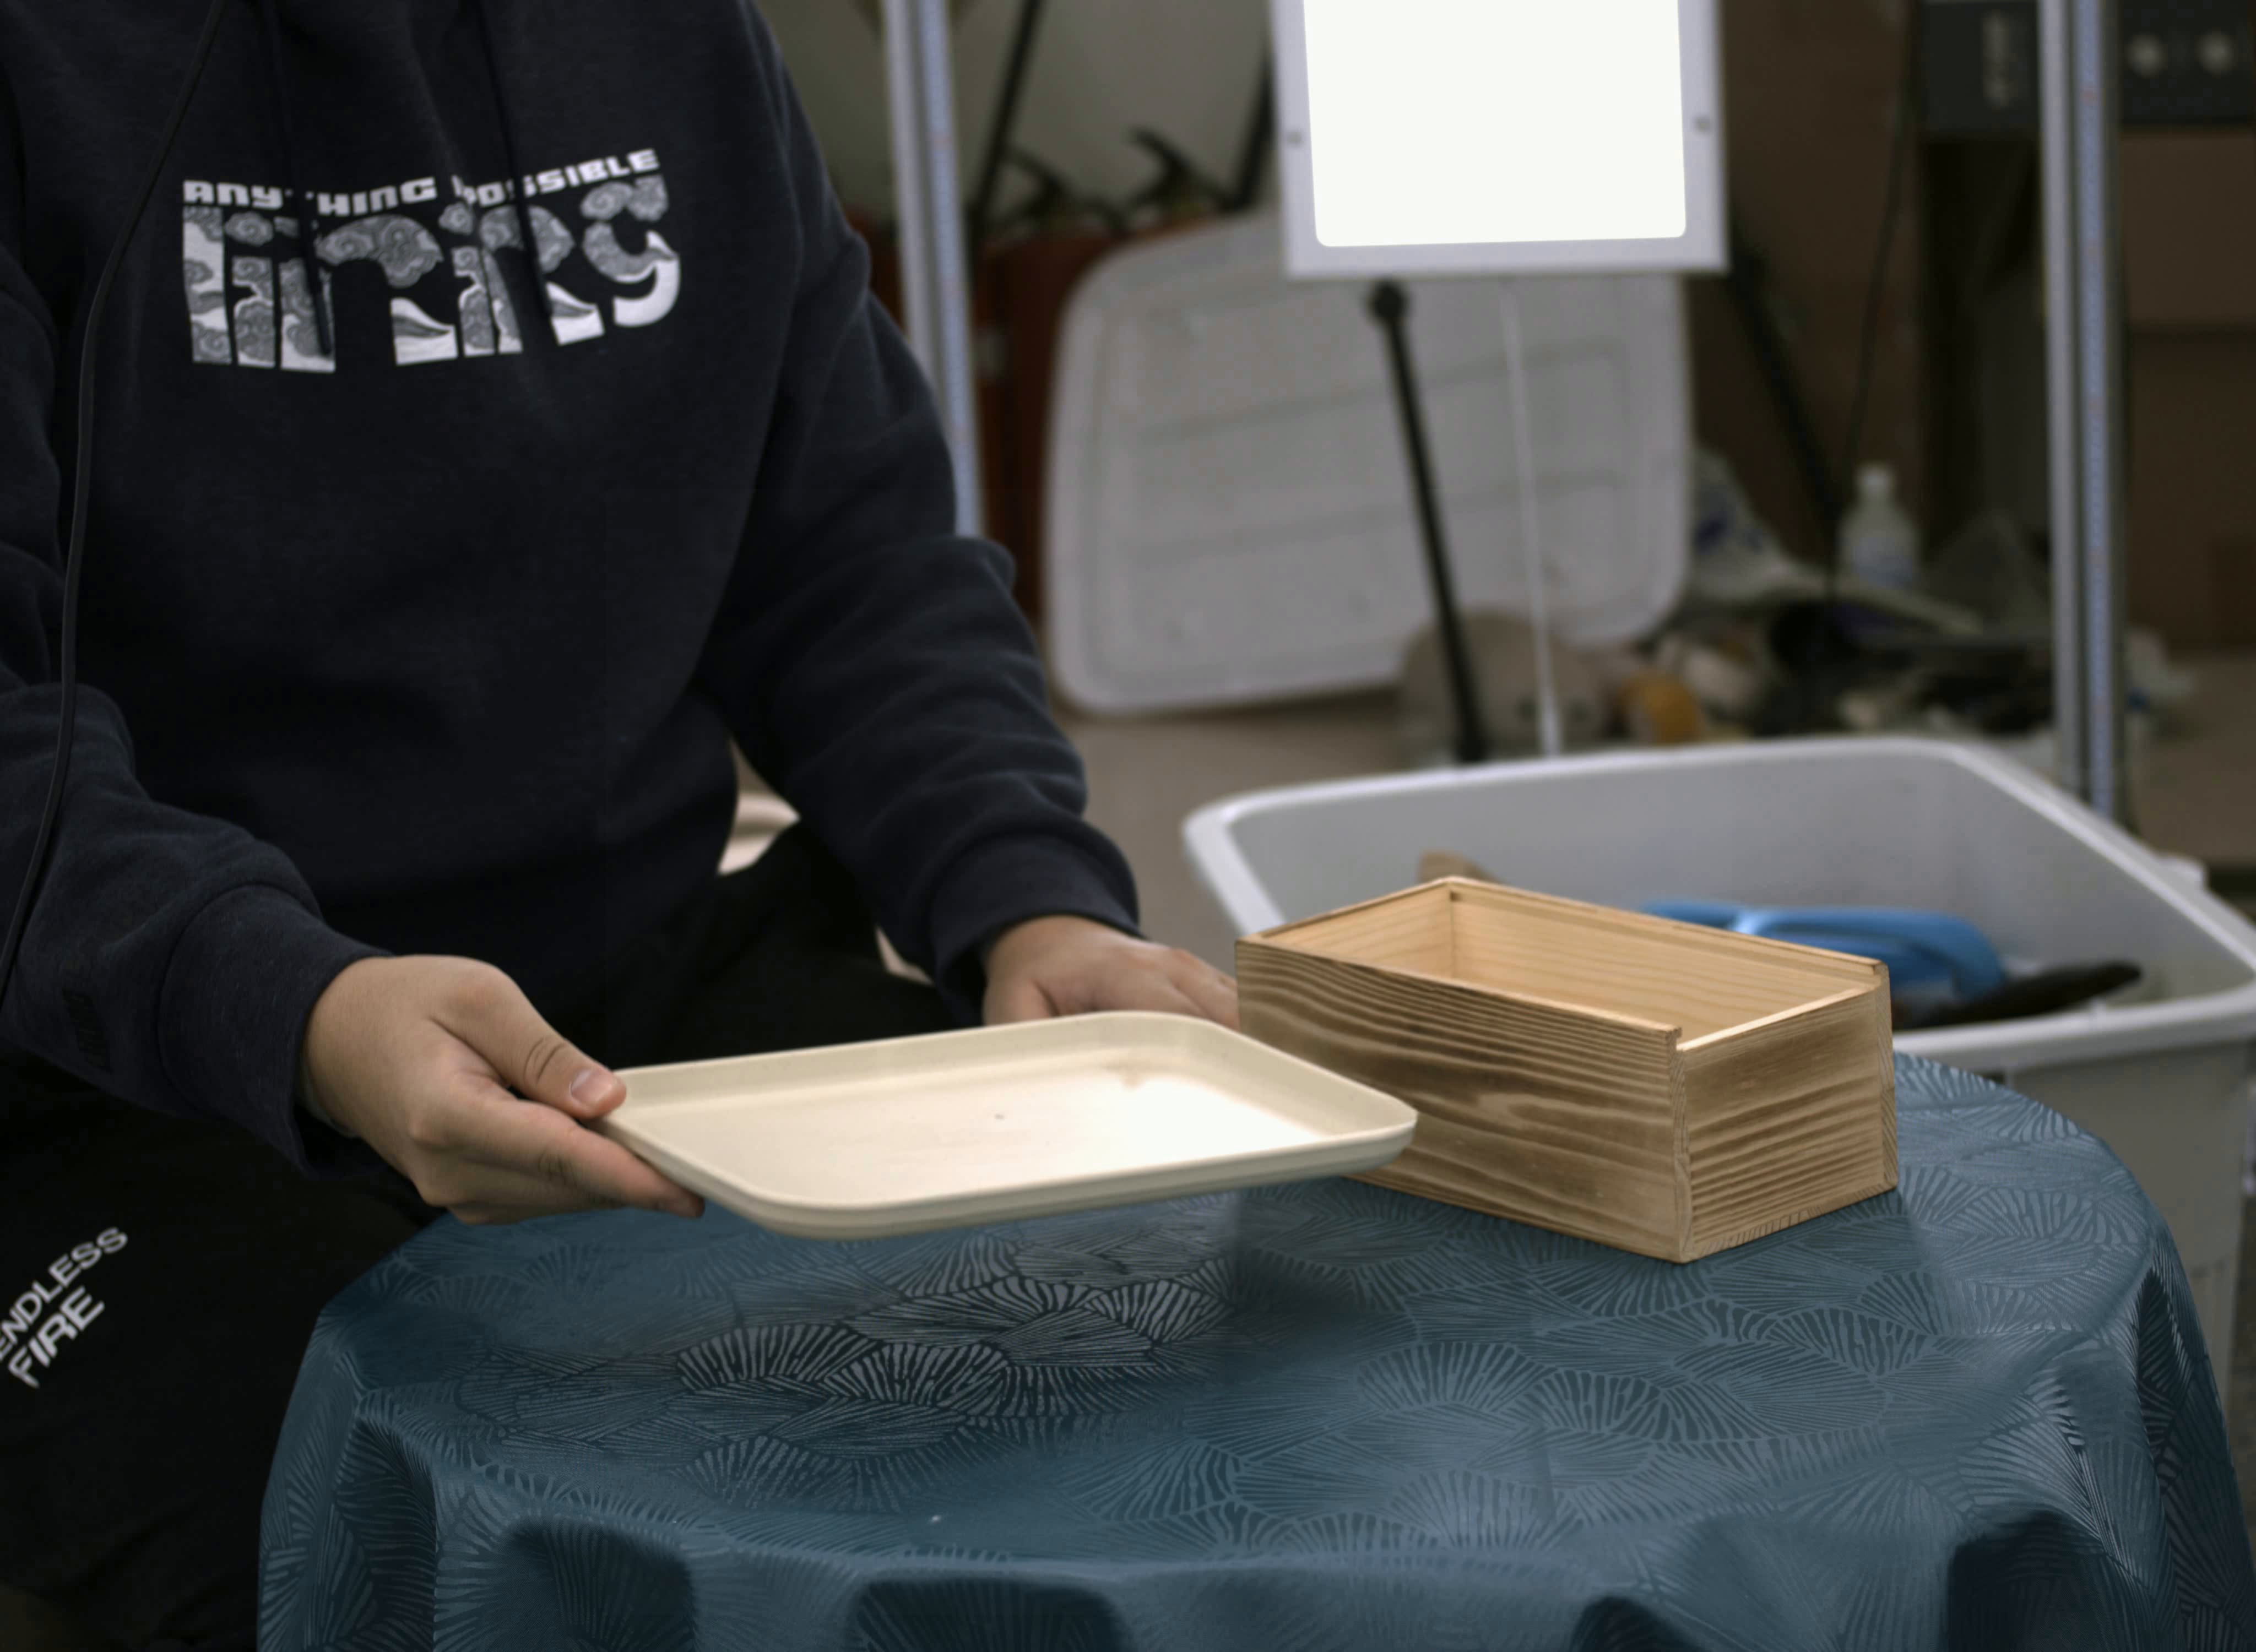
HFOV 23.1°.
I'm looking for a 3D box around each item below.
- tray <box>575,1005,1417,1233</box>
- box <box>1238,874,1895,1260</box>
[{"bbox_3d":[-0.041,0.092,1.743,0.234,0.017,0.174,-6,13,-30],"label":"tray"},{"bbox_3d":[0.148,0.079,1.873,0.105,0.080,0.216,-15,16,-38],"label":"box"}]
